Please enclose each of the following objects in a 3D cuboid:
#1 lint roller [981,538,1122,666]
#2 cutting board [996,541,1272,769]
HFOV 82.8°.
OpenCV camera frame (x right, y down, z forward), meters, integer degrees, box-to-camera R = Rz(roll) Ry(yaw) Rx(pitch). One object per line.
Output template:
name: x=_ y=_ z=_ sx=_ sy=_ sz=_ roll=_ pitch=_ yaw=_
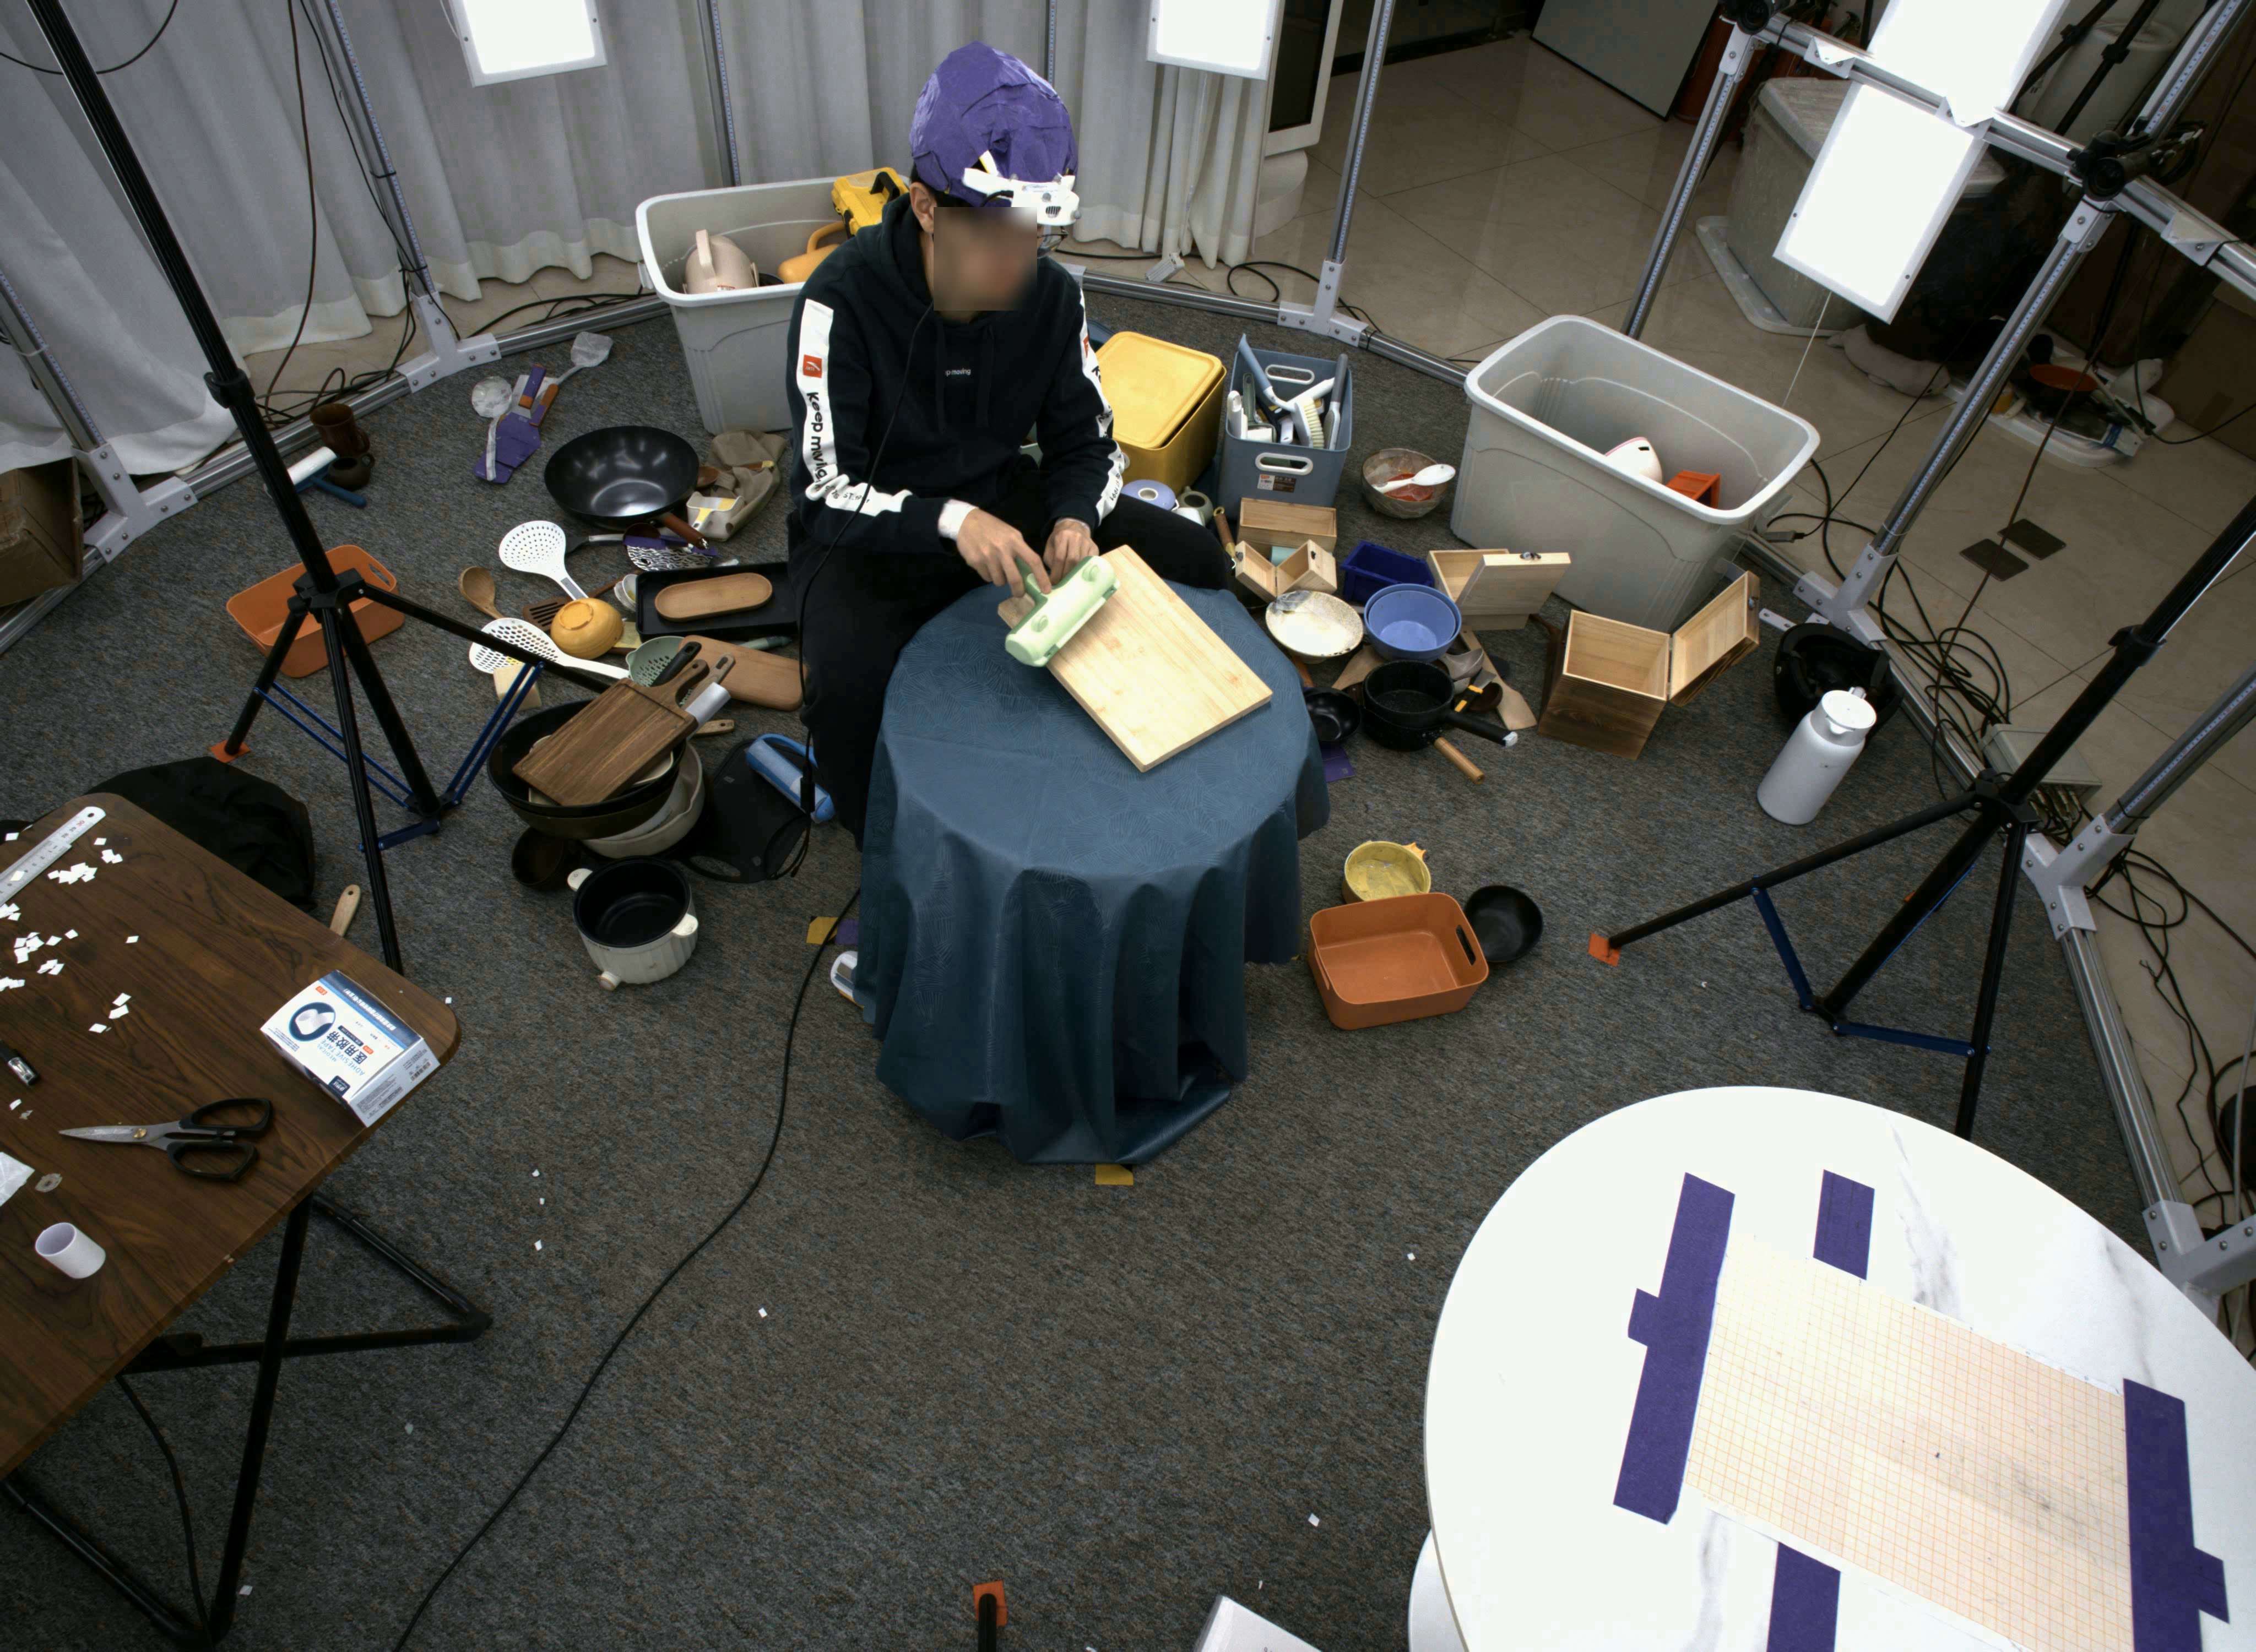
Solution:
lint roller: x=-0.128 y=-0.346 z=1.804 sx=0.182 sy=0.081 sz=0.201 roll=45 pitch=63 yaw=-6
cutting board: x=0.006 y=-0.253 z=1.849 sx=0.252 sy=0.023 sz=0.354 roll=-30 pitch=65 yaw=-27
